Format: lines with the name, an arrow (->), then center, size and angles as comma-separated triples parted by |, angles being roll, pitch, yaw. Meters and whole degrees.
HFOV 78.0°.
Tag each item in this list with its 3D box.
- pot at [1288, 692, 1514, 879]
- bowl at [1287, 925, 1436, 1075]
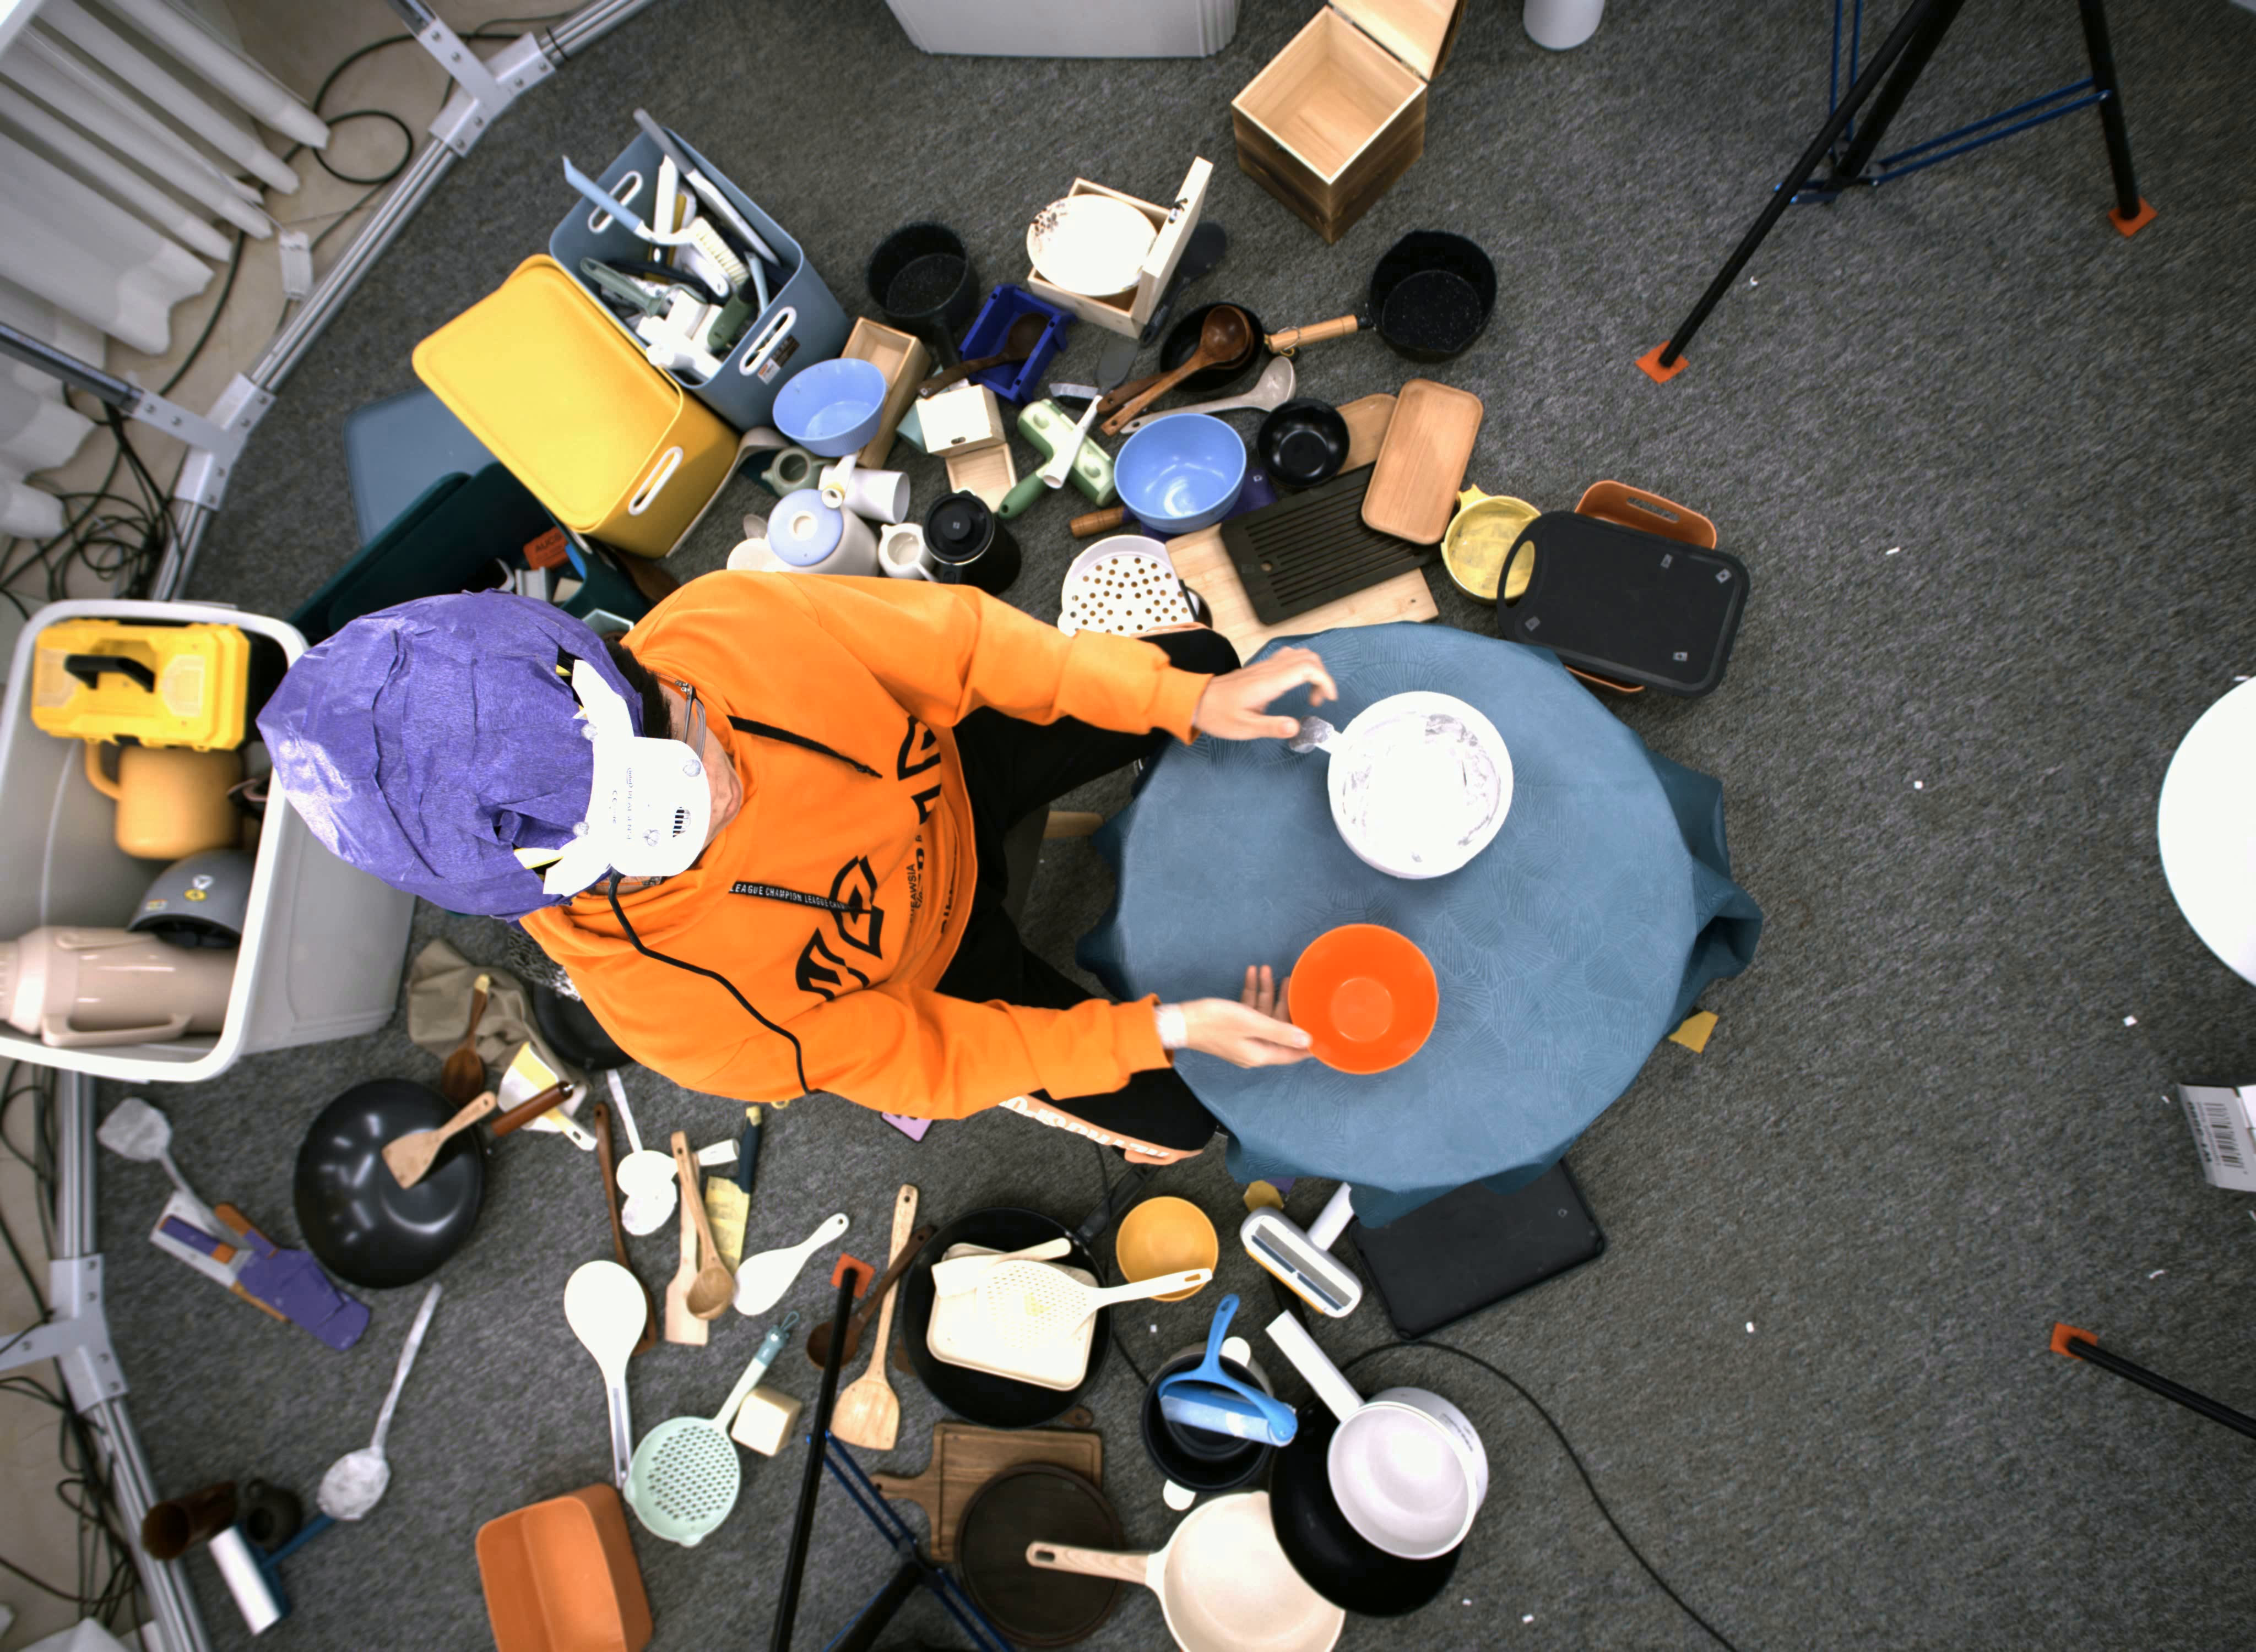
pot -> 0.268, -0.050, 1.397 | 0.233, 0.137, 0.179 | 27, 90, 11
bowl -> 0.240, 0.180, 1.417 | 0.149, 0.105, 0.146 | -2, 80, 13
